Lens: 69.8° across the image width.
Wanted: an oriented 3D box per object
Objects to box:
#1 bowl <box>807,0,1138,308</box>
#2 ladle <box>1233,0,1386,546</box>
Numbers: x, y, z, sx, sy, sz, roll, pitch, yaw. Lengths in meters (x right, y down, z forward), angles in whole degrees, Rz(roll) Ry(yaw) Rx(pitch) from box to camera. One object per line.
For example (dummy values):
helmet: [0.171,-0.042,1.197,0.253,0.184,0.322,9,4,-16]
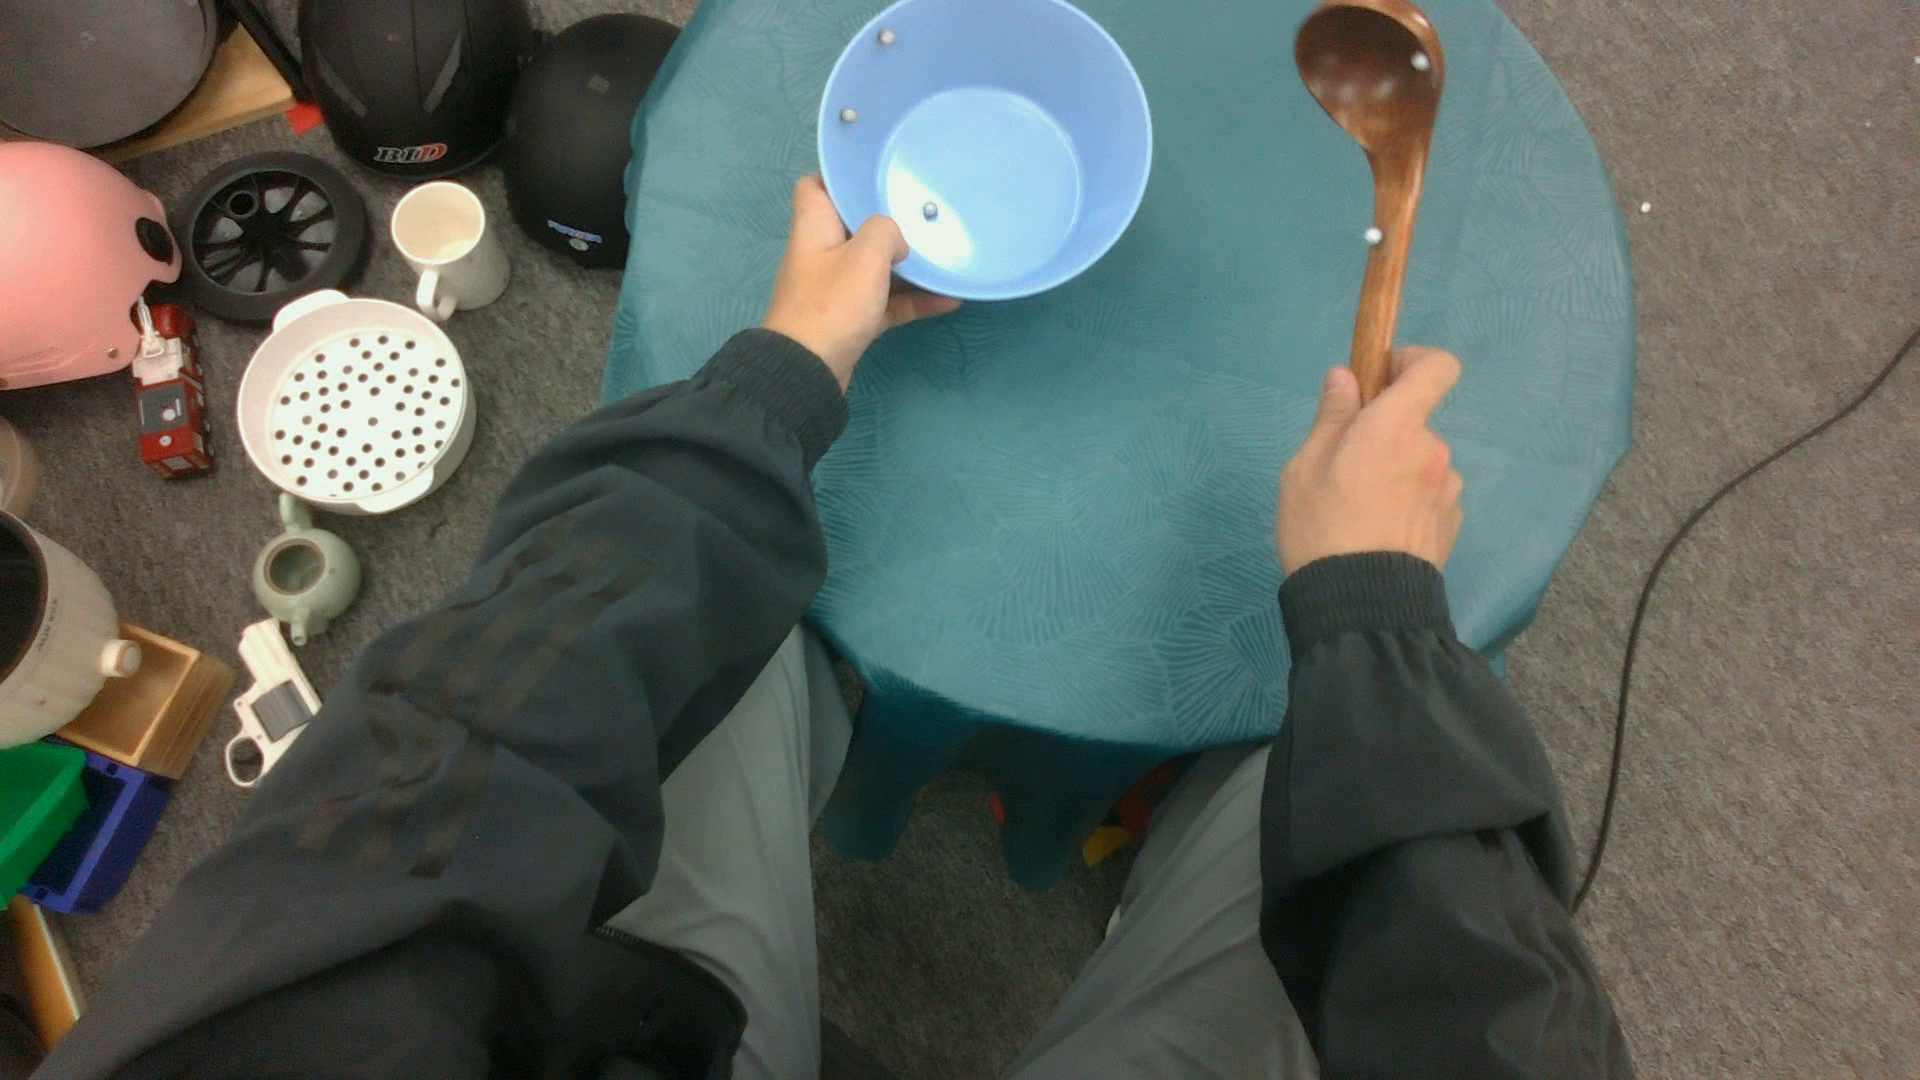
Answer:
bowl: [0.006,-0.203,0.758,0.176,0.070,0.176,0,82,-1]
ladle: [0.167,-0.134,0.671,0.077,0.082,0.274,1,94,-10]
